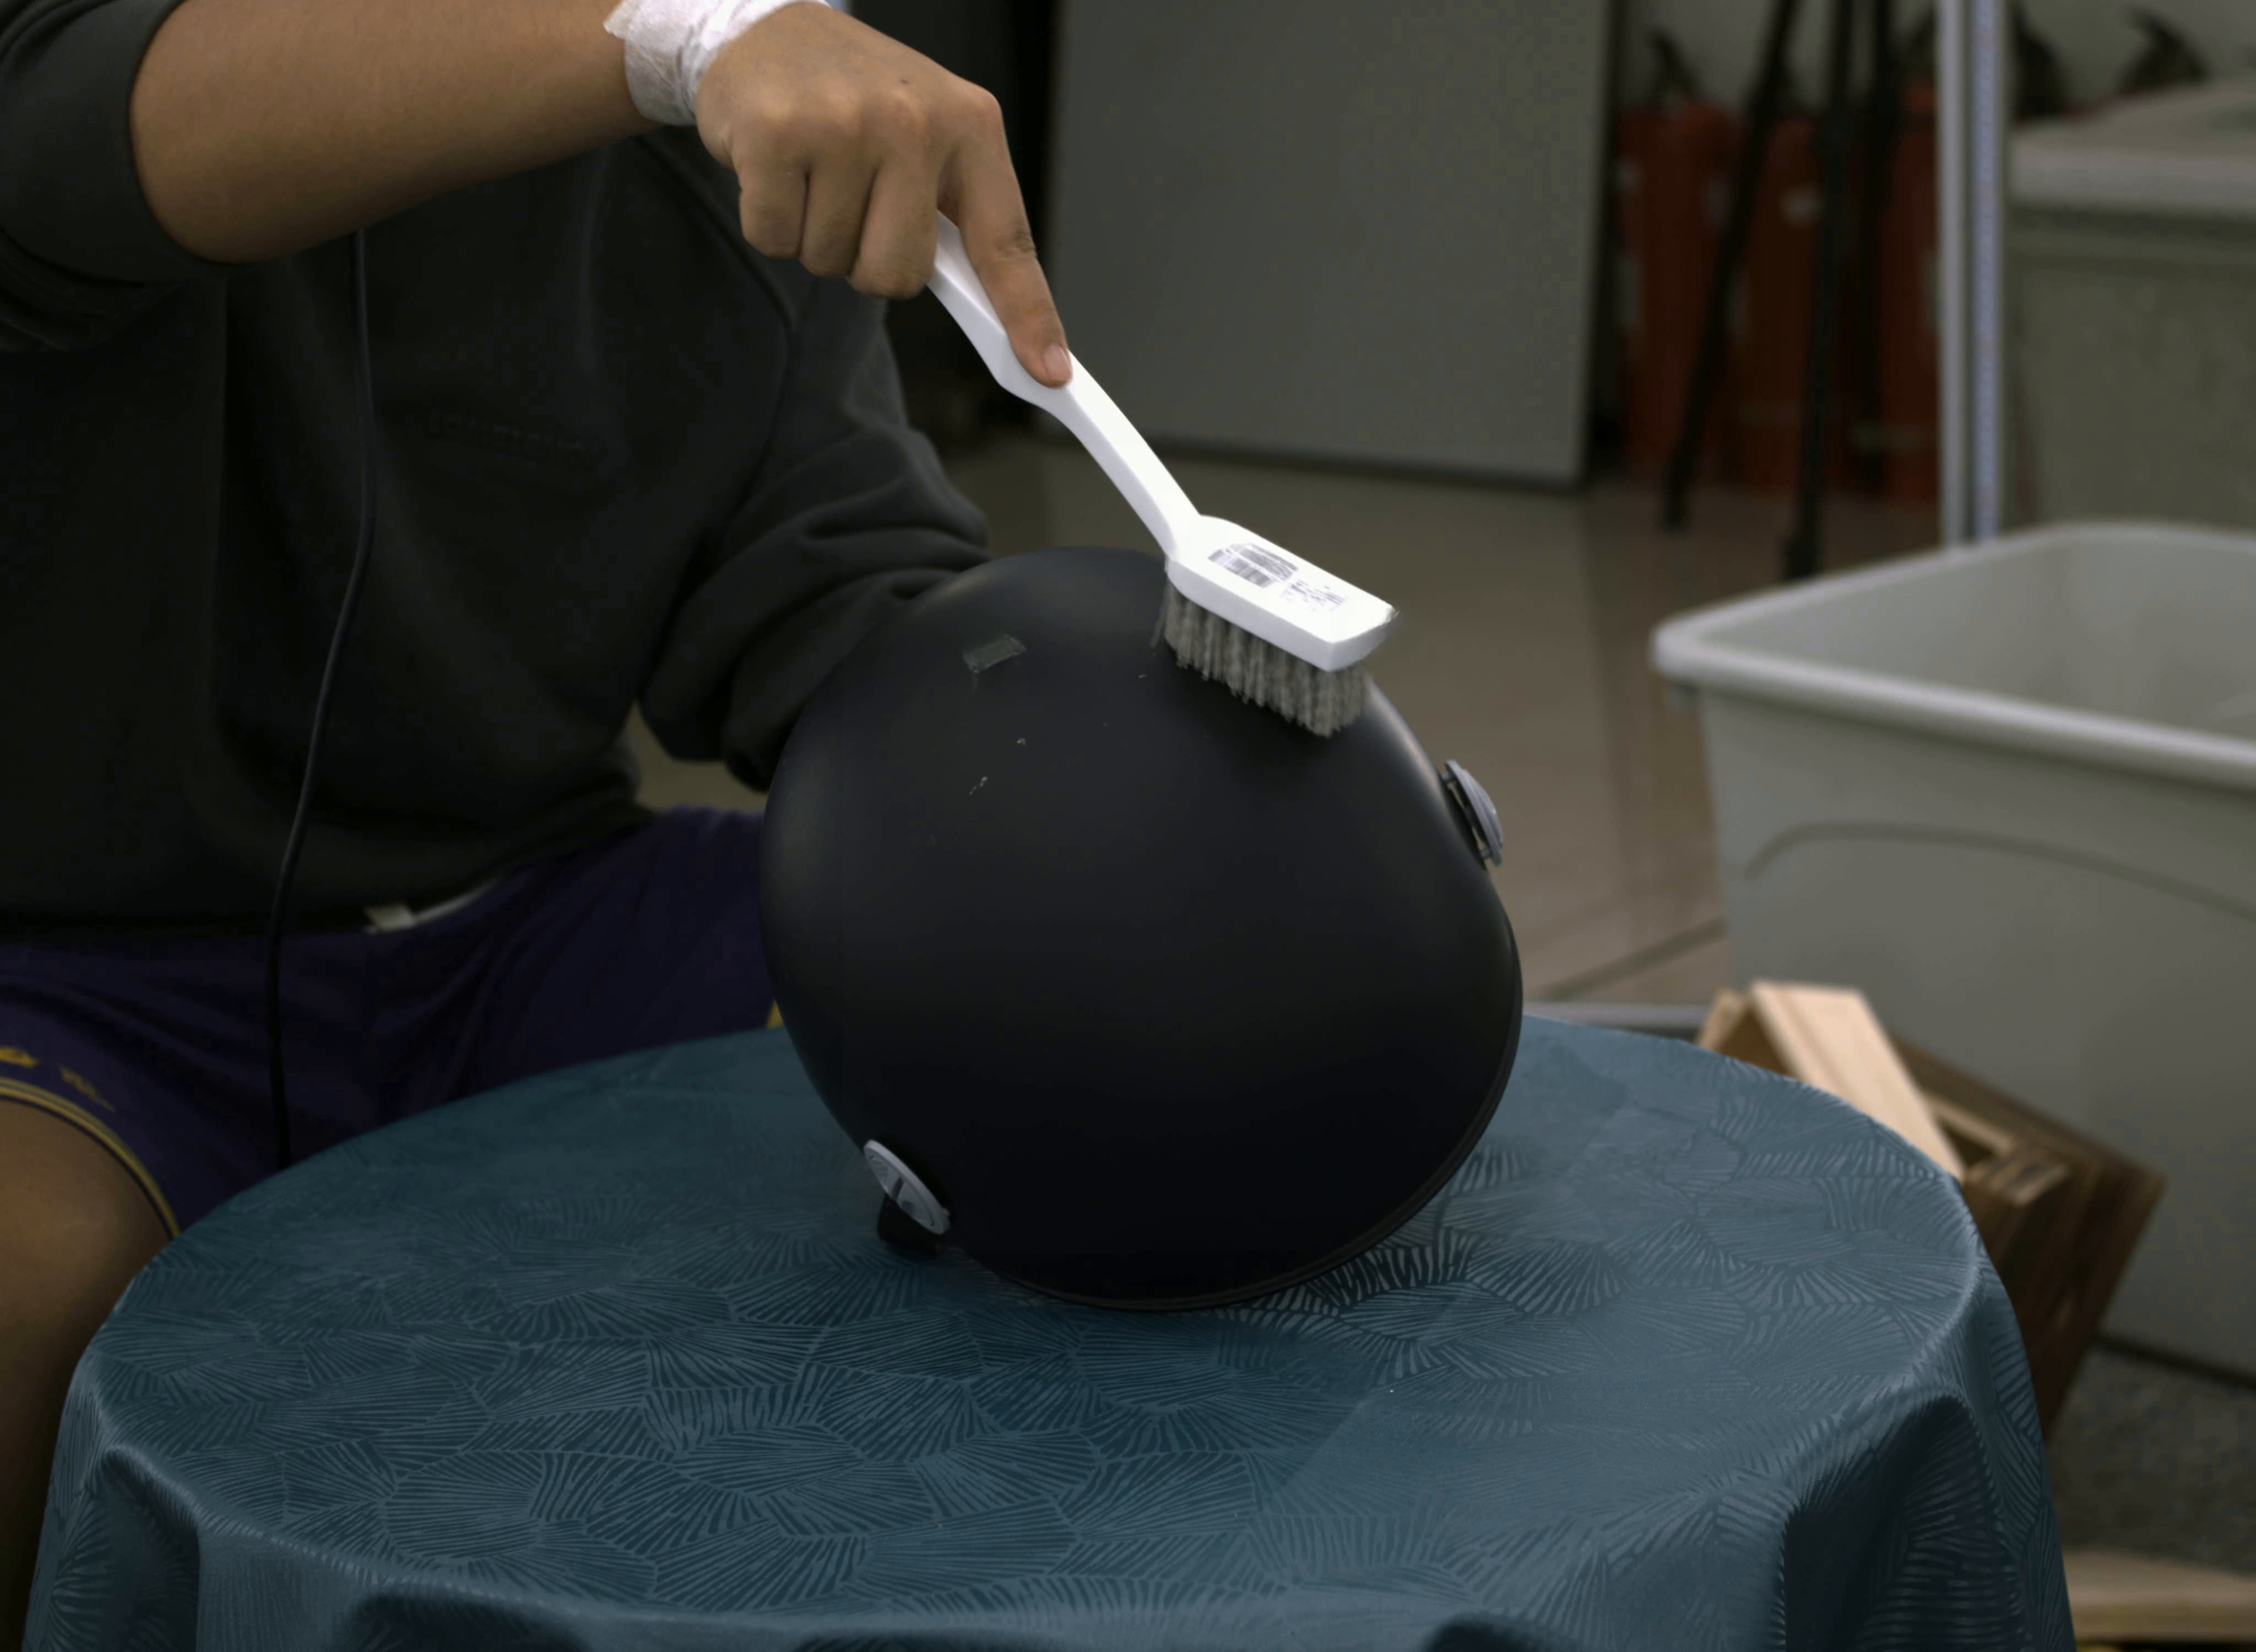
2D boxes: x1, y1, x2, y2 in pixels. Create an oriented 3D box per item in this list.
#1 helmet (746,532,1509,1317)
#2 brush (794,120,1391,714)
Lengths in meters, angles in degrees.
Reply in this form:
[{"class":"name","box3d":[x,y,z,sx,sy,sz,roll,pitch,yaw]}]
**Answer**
[{"class":"helmet","box3d":[-0.012,0.010,1.693,0.228,0.166,0.276,-33,42,-6]},{"class":"brush","box3d":[-0.017,-0.122,1.644,0.244,0.051,0.034,41,41,9]}]
